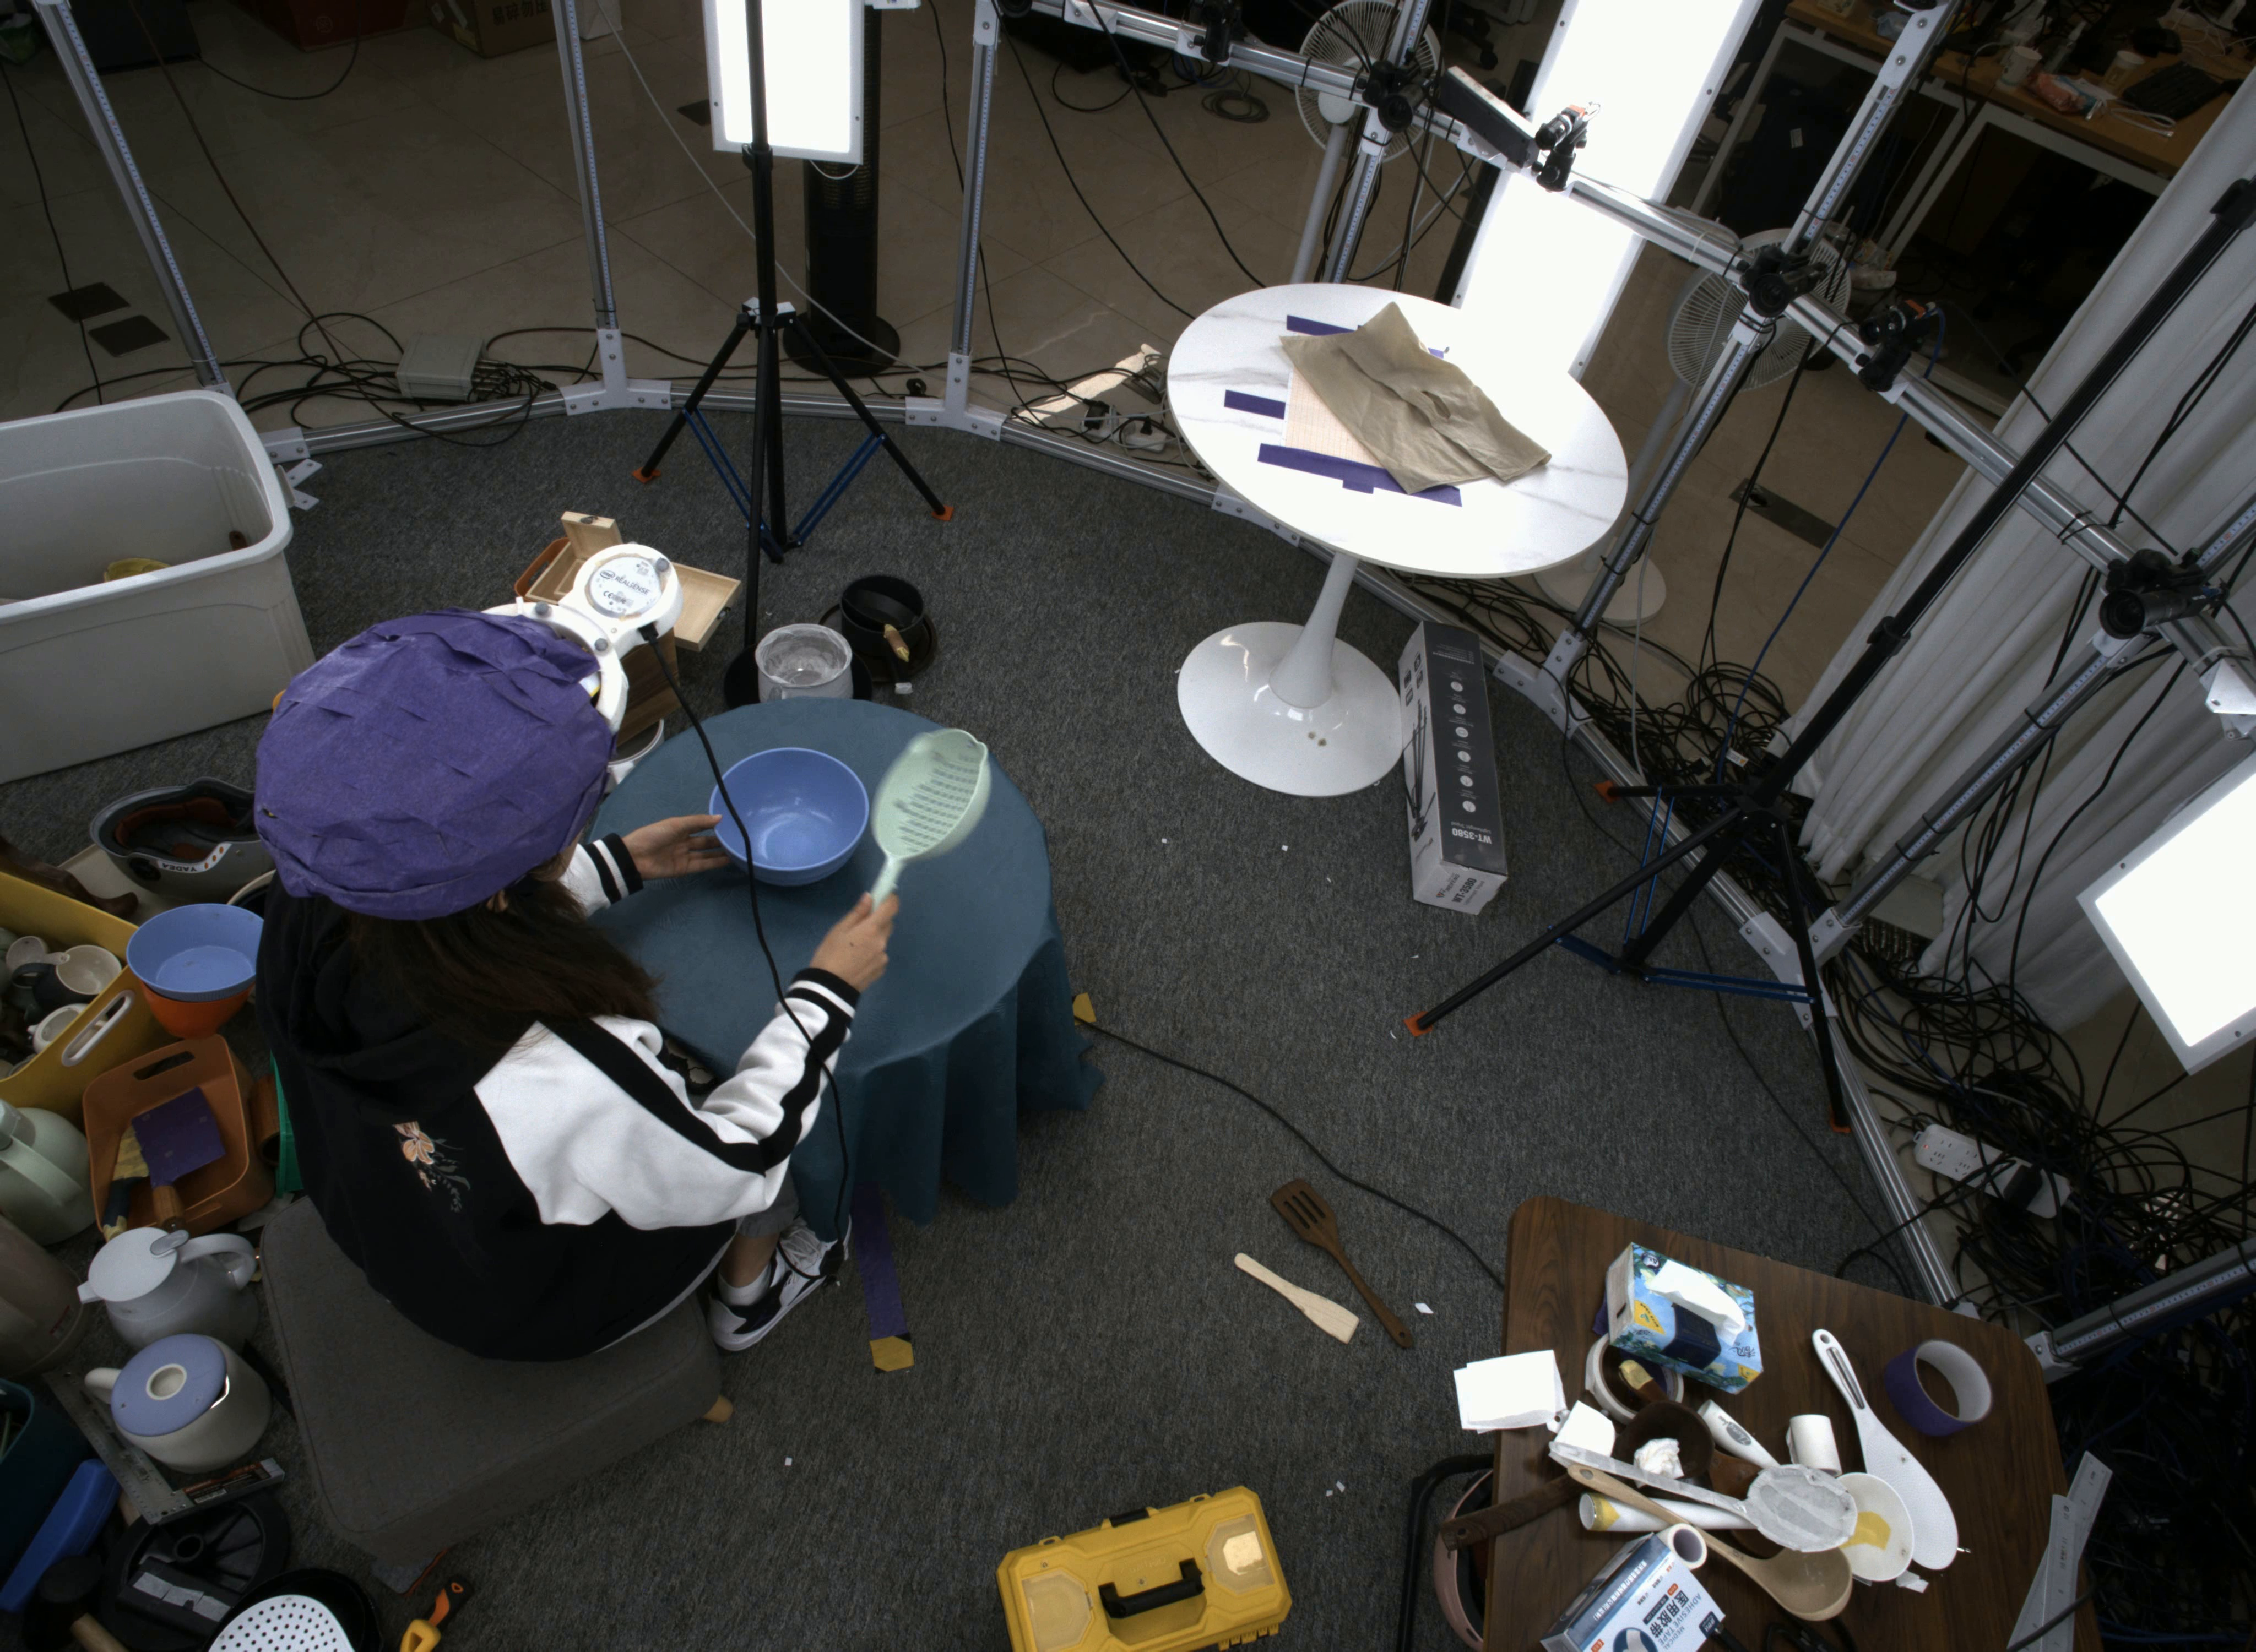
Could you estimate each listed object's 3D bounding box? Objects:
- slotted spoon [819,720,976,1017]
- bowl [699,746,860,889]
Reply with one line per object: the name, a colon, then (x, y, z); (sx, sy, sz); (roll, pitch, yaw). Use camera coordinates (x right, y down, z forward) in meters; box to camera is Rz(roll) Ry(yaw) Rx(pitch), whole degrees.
slotted spoon: (-0.283, 0.045, 1.505); (0.163, 0.078, 0.358); (12, 65, 39)
bowl: (-0.441, 0.004, 1.650); (0.196, 0.097, 0.193); (8, 52, -9)
